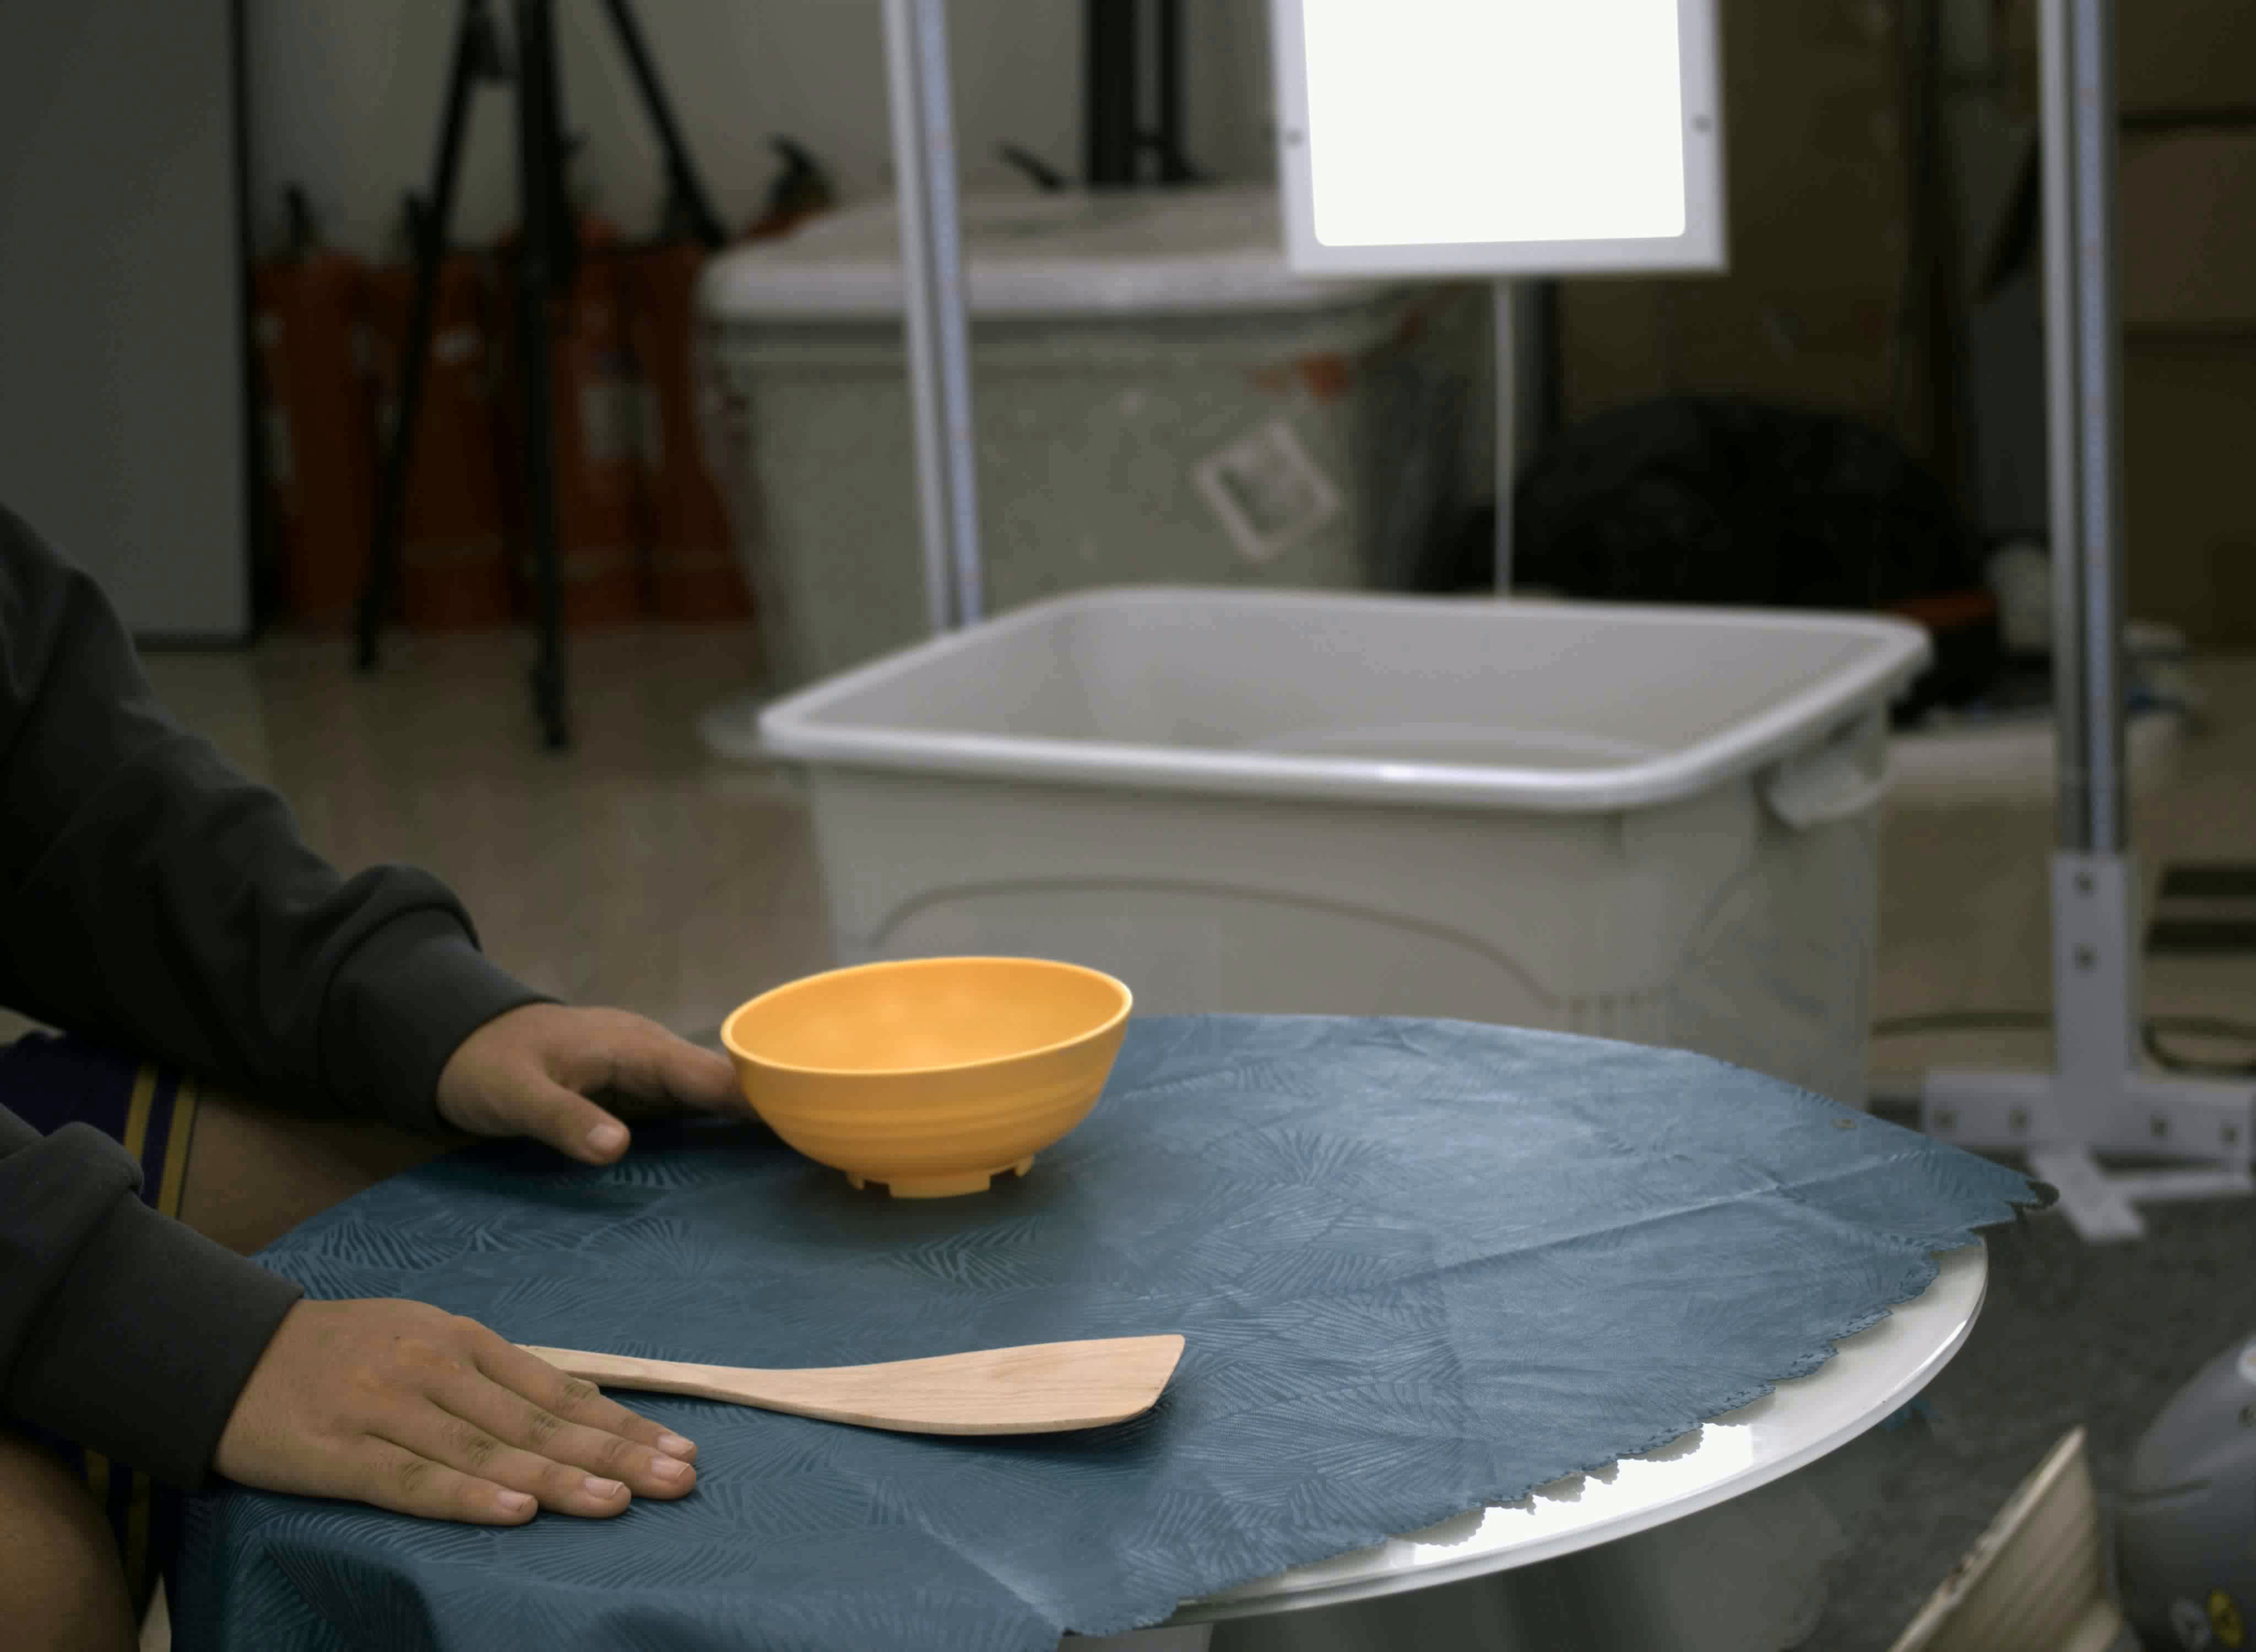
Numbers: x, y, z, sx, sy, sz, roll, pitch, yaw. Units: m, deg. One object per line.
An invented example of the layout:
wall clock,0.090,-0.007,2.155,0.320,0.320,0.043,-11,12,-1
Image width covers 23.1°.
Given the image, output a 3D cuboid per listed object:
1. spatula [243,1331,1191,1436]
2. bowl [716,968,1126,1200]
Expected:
spatula,-0.133,0.170,1.735,0.332,0.016,0.078,0,15,23
bowl,-0.071,0.094,1.934,0.145,0.060,0.145,-4,12,-1
